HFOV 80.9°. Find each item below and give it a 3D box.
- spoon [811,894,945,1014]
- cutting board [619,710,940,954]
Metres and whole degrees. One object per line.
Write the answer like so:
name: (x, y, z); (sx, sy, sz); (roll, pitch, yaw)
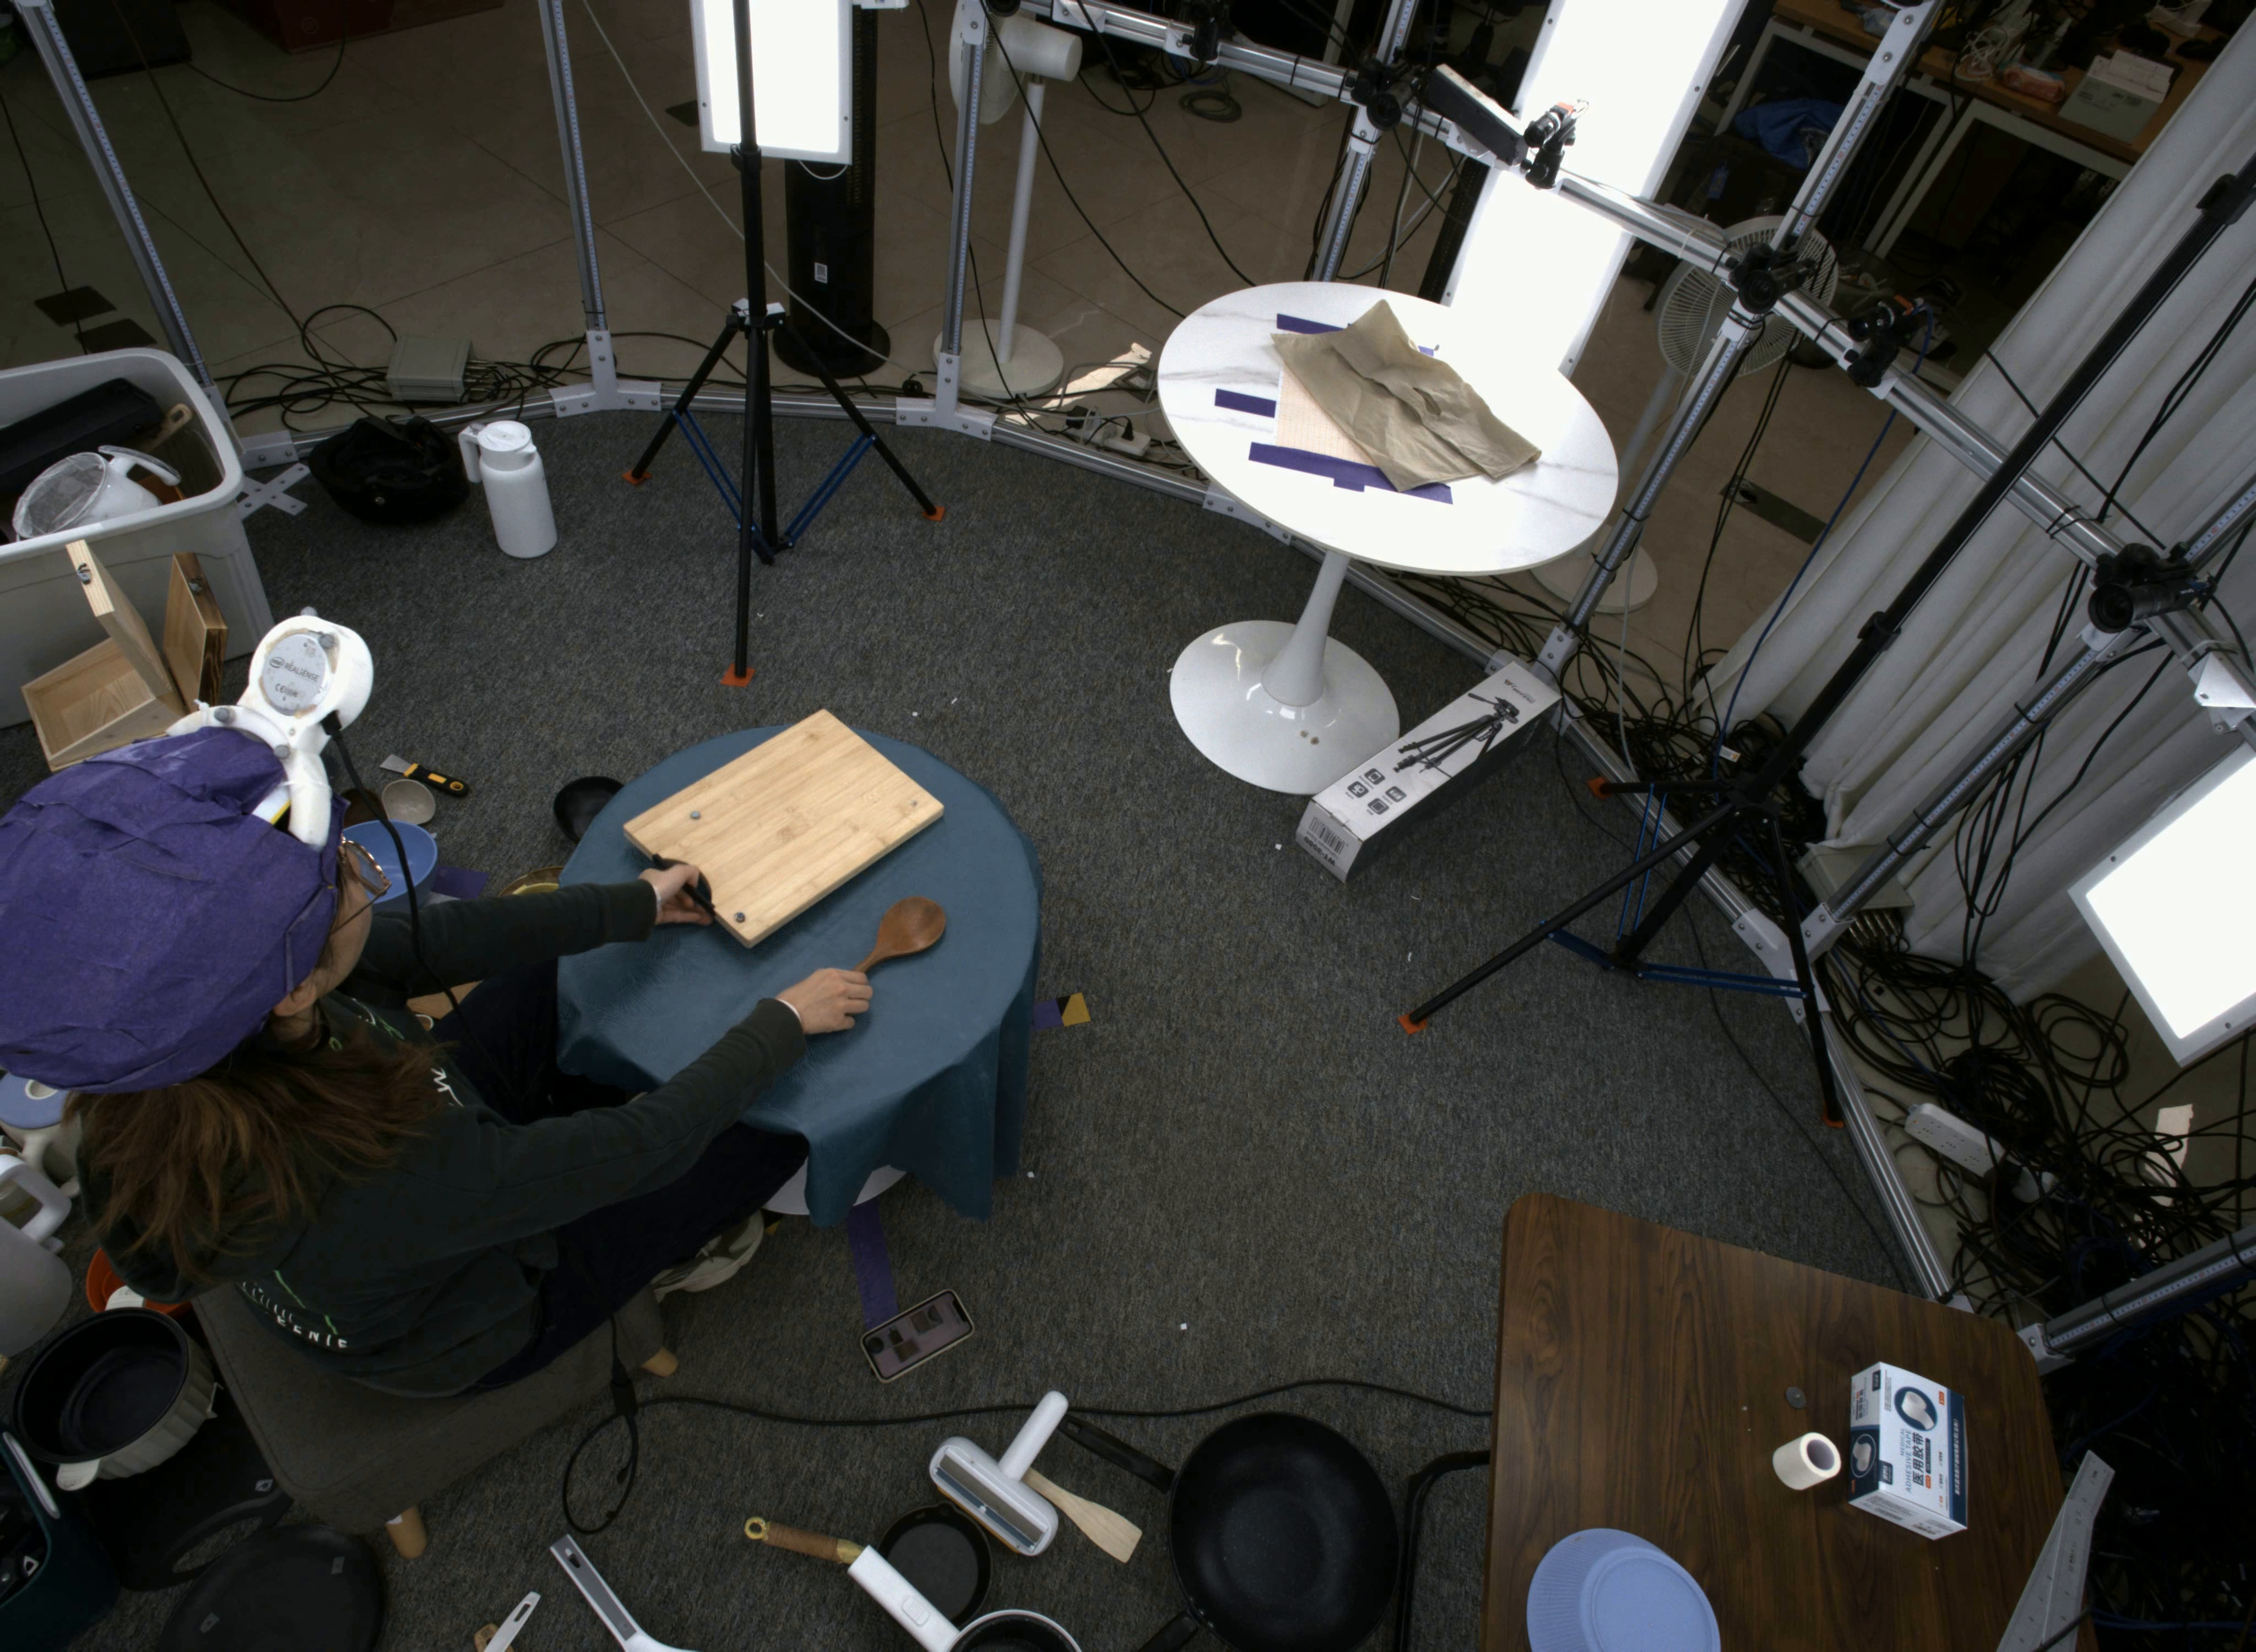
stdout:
spoon: (-0.313, 0.160, 1.624); (0.074, 0.017, 0.216); (42, 53, 7)
cutting board: (-0.450, -0.004, 1.700); (0.245, 0.024, 0.349); (37, 50, 15)
